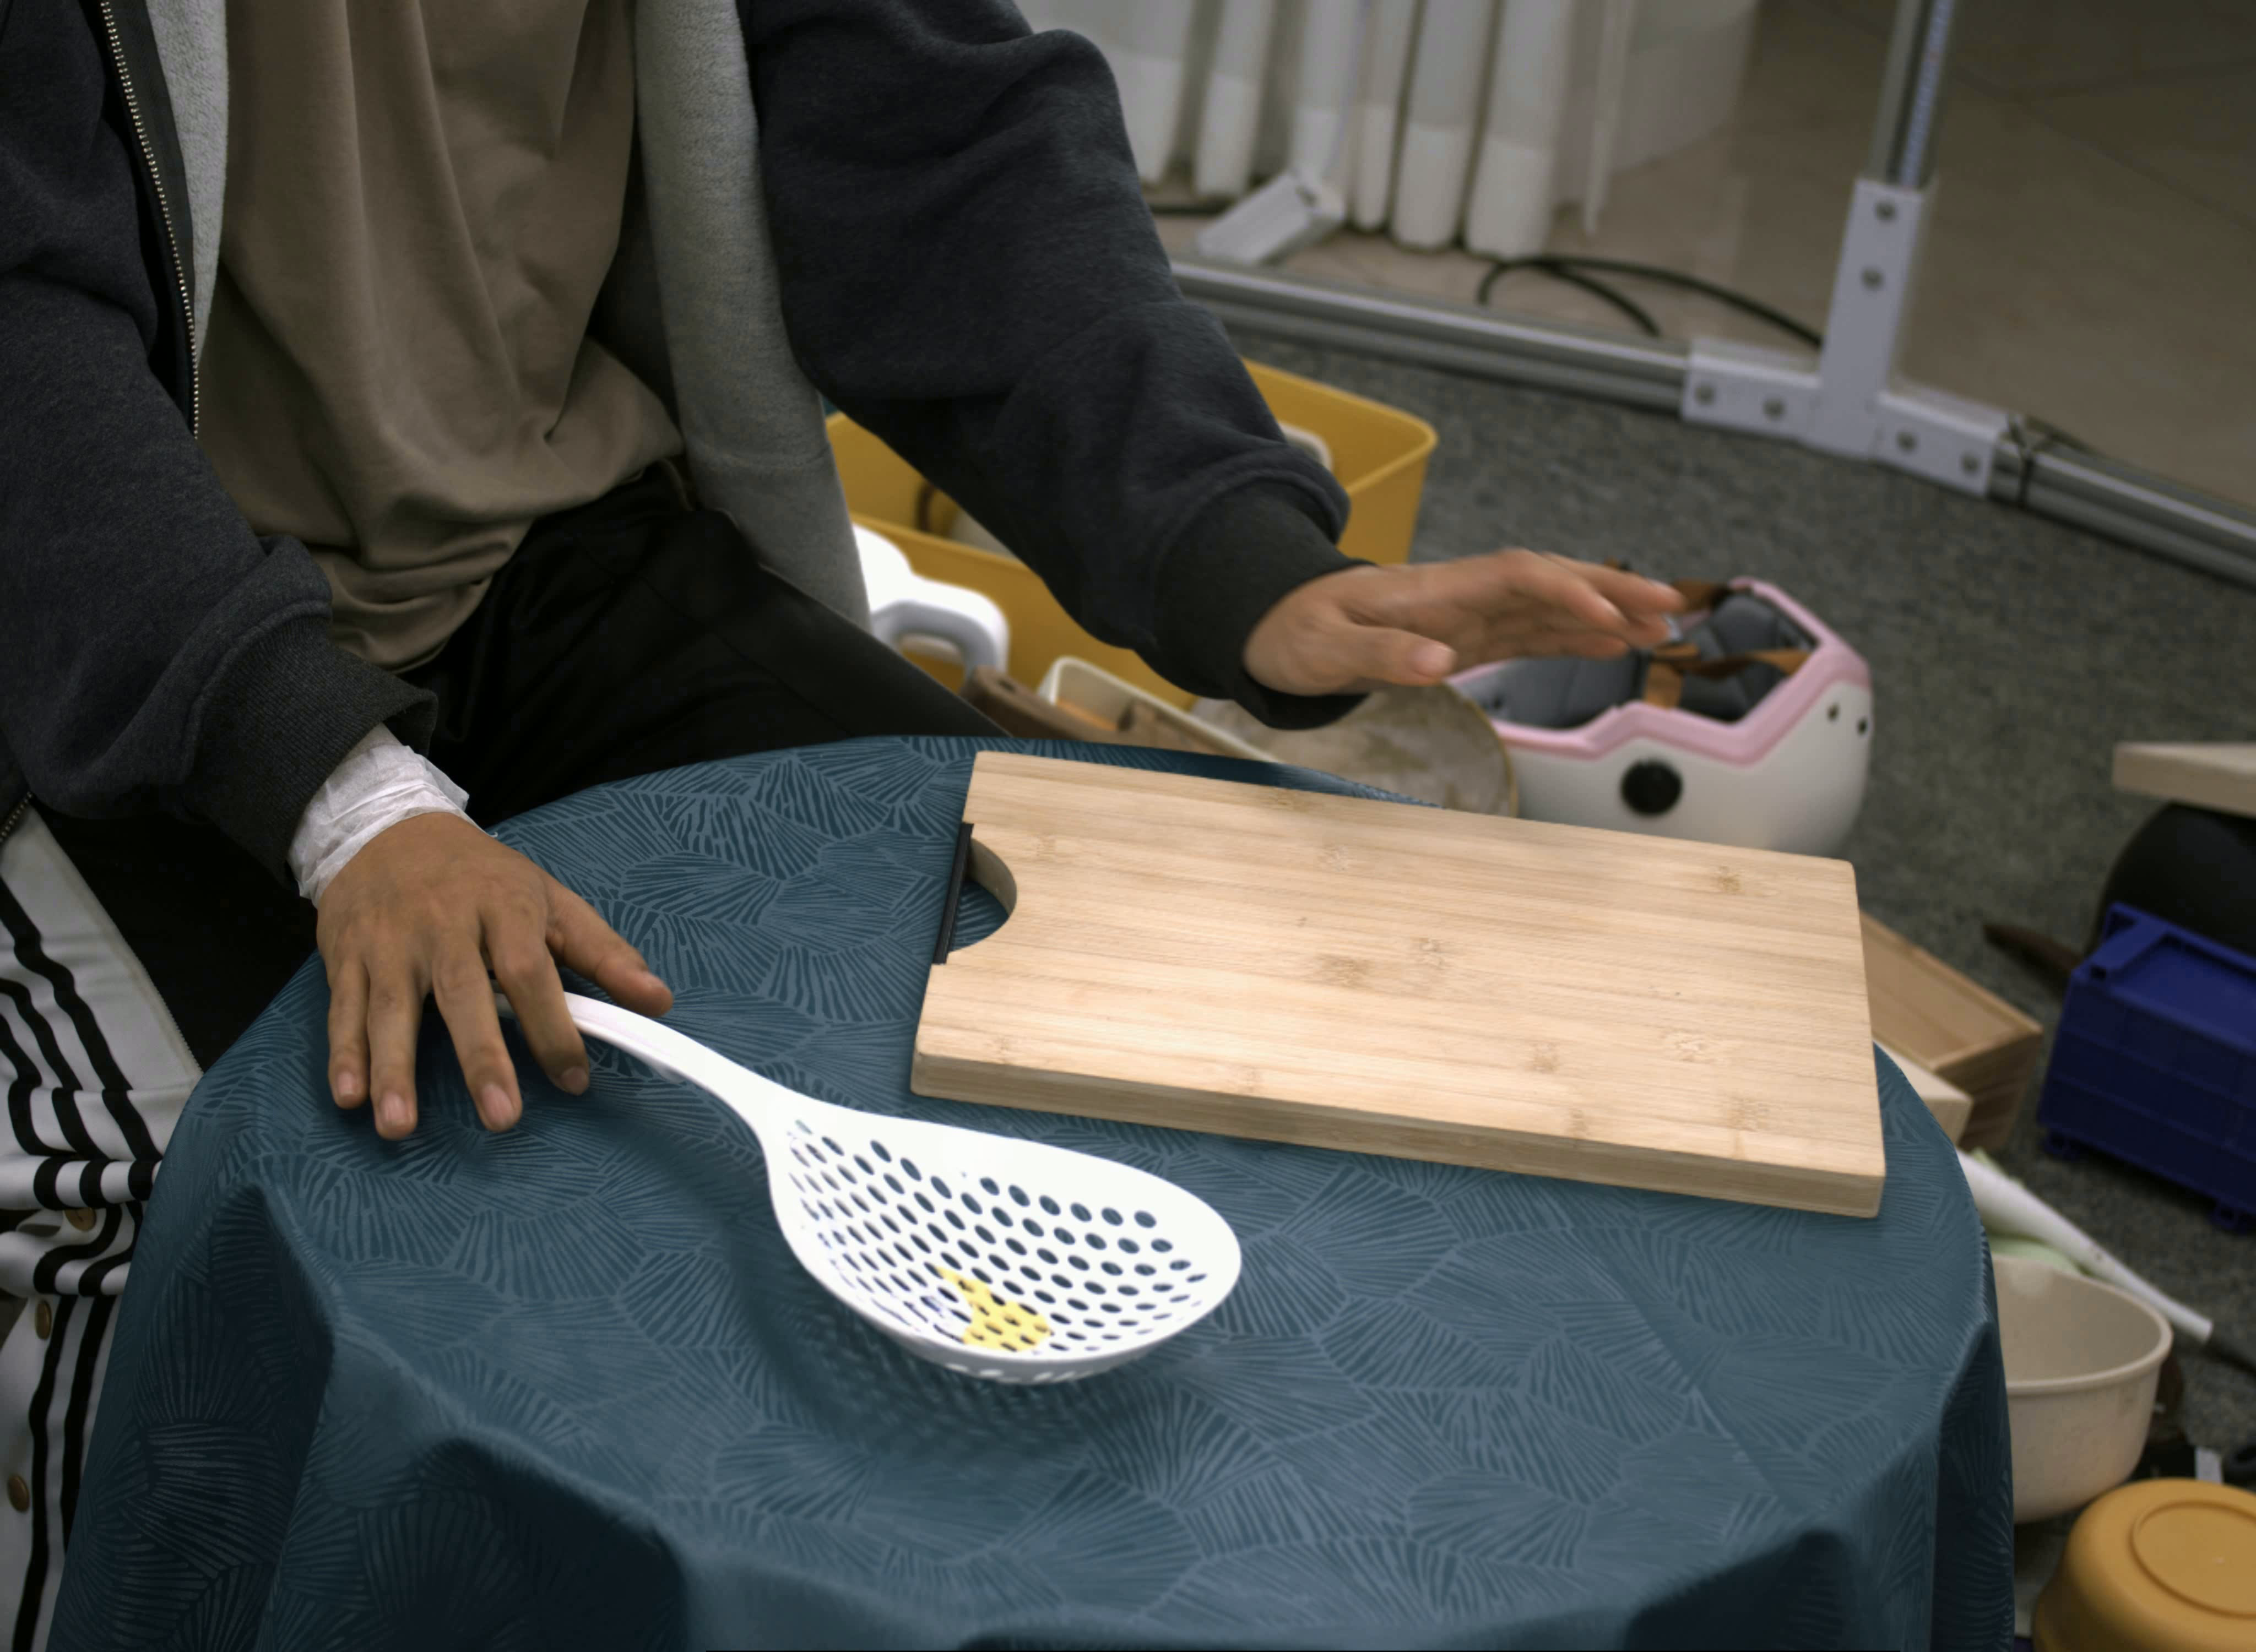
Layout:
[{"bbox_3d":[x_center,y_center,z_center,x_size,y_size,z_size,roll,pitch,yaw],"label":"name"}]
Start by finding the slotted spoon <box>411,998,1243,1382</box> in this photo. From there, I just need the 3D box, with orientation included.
[{"bbox_3d":[-0.114,0.107,1.763,0.350,0.050,0.136,28,35,35],"label":"slotted spoon"}]

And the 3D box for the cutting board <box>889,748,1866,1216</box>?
[{"bbox_3d":[0.096,0.054,1.943,0.348,0.023,0.252,7,26,1],"label":"cutting board"}]
